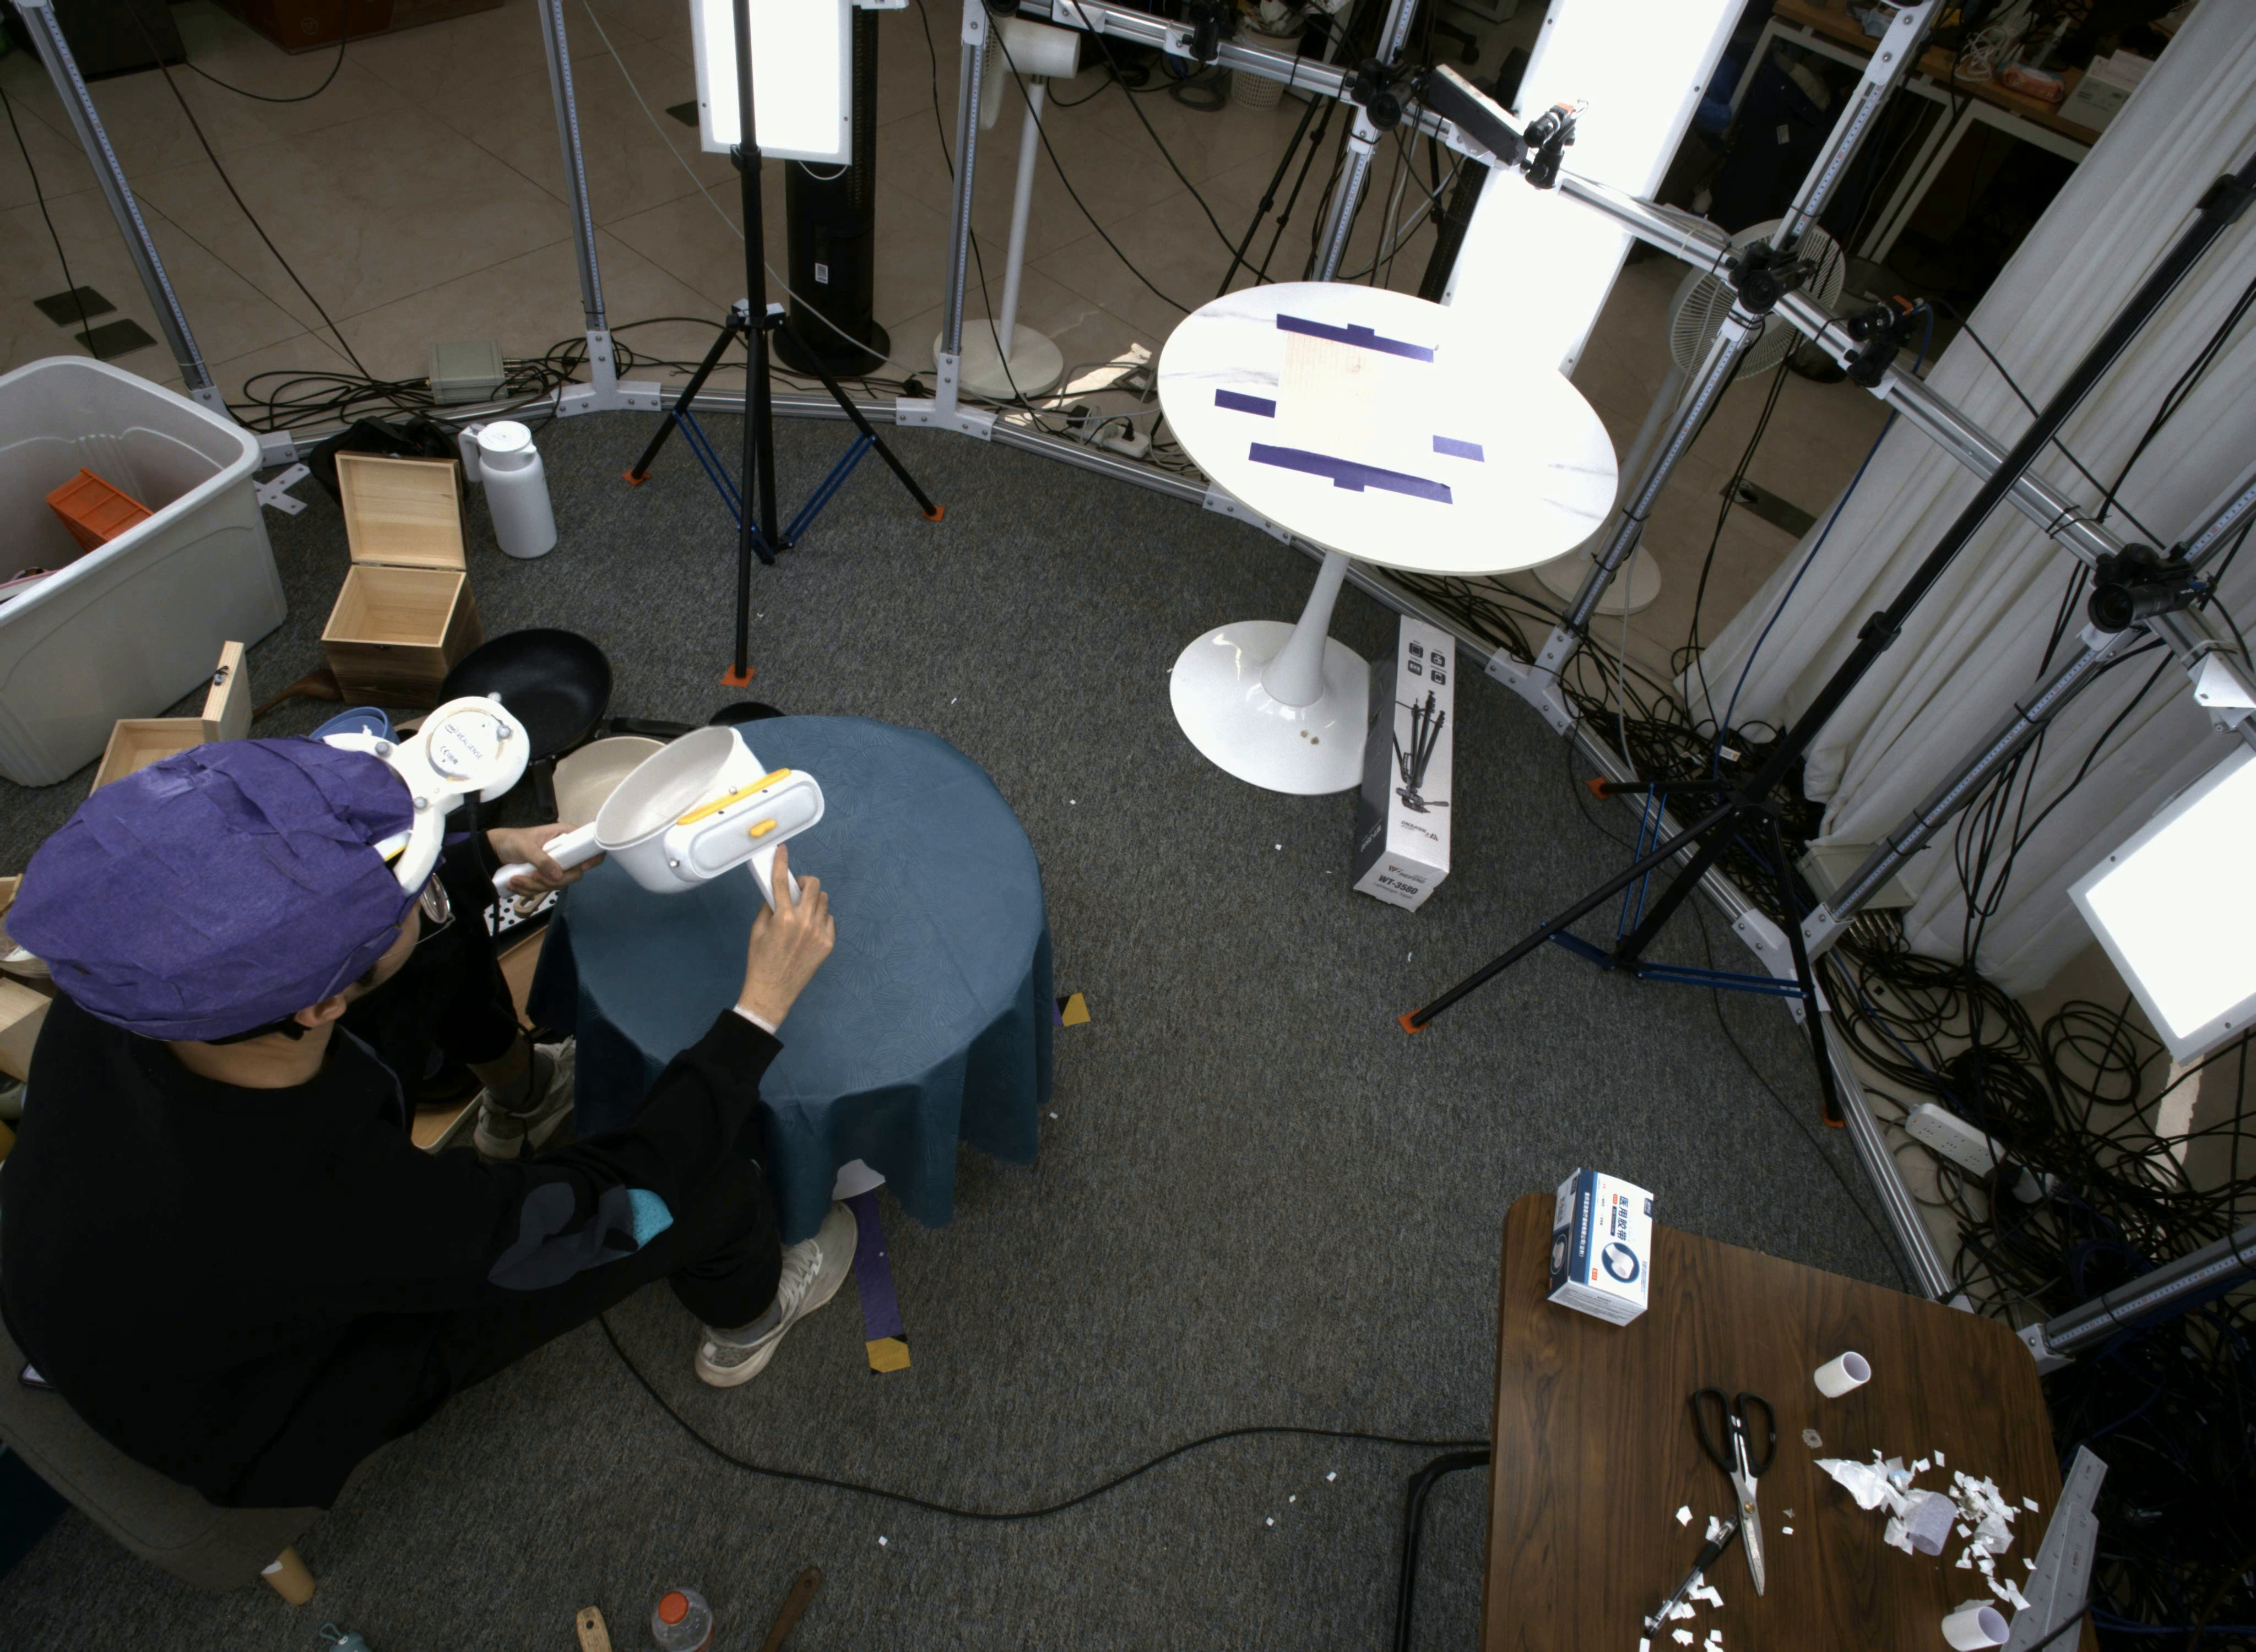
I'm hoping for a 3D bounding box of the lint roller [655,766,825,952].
[{"bbox_3d":[-0.396,0.049,1.416,0.193,0.072,0.198,-40,116,-43],"label":"lint roller"}]

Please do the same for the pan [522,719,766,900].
[{"bbox_3d":[-0.573,0.014,1.499,0.351,0.106,0.196,-26,35,10],"label":"pan"}]
